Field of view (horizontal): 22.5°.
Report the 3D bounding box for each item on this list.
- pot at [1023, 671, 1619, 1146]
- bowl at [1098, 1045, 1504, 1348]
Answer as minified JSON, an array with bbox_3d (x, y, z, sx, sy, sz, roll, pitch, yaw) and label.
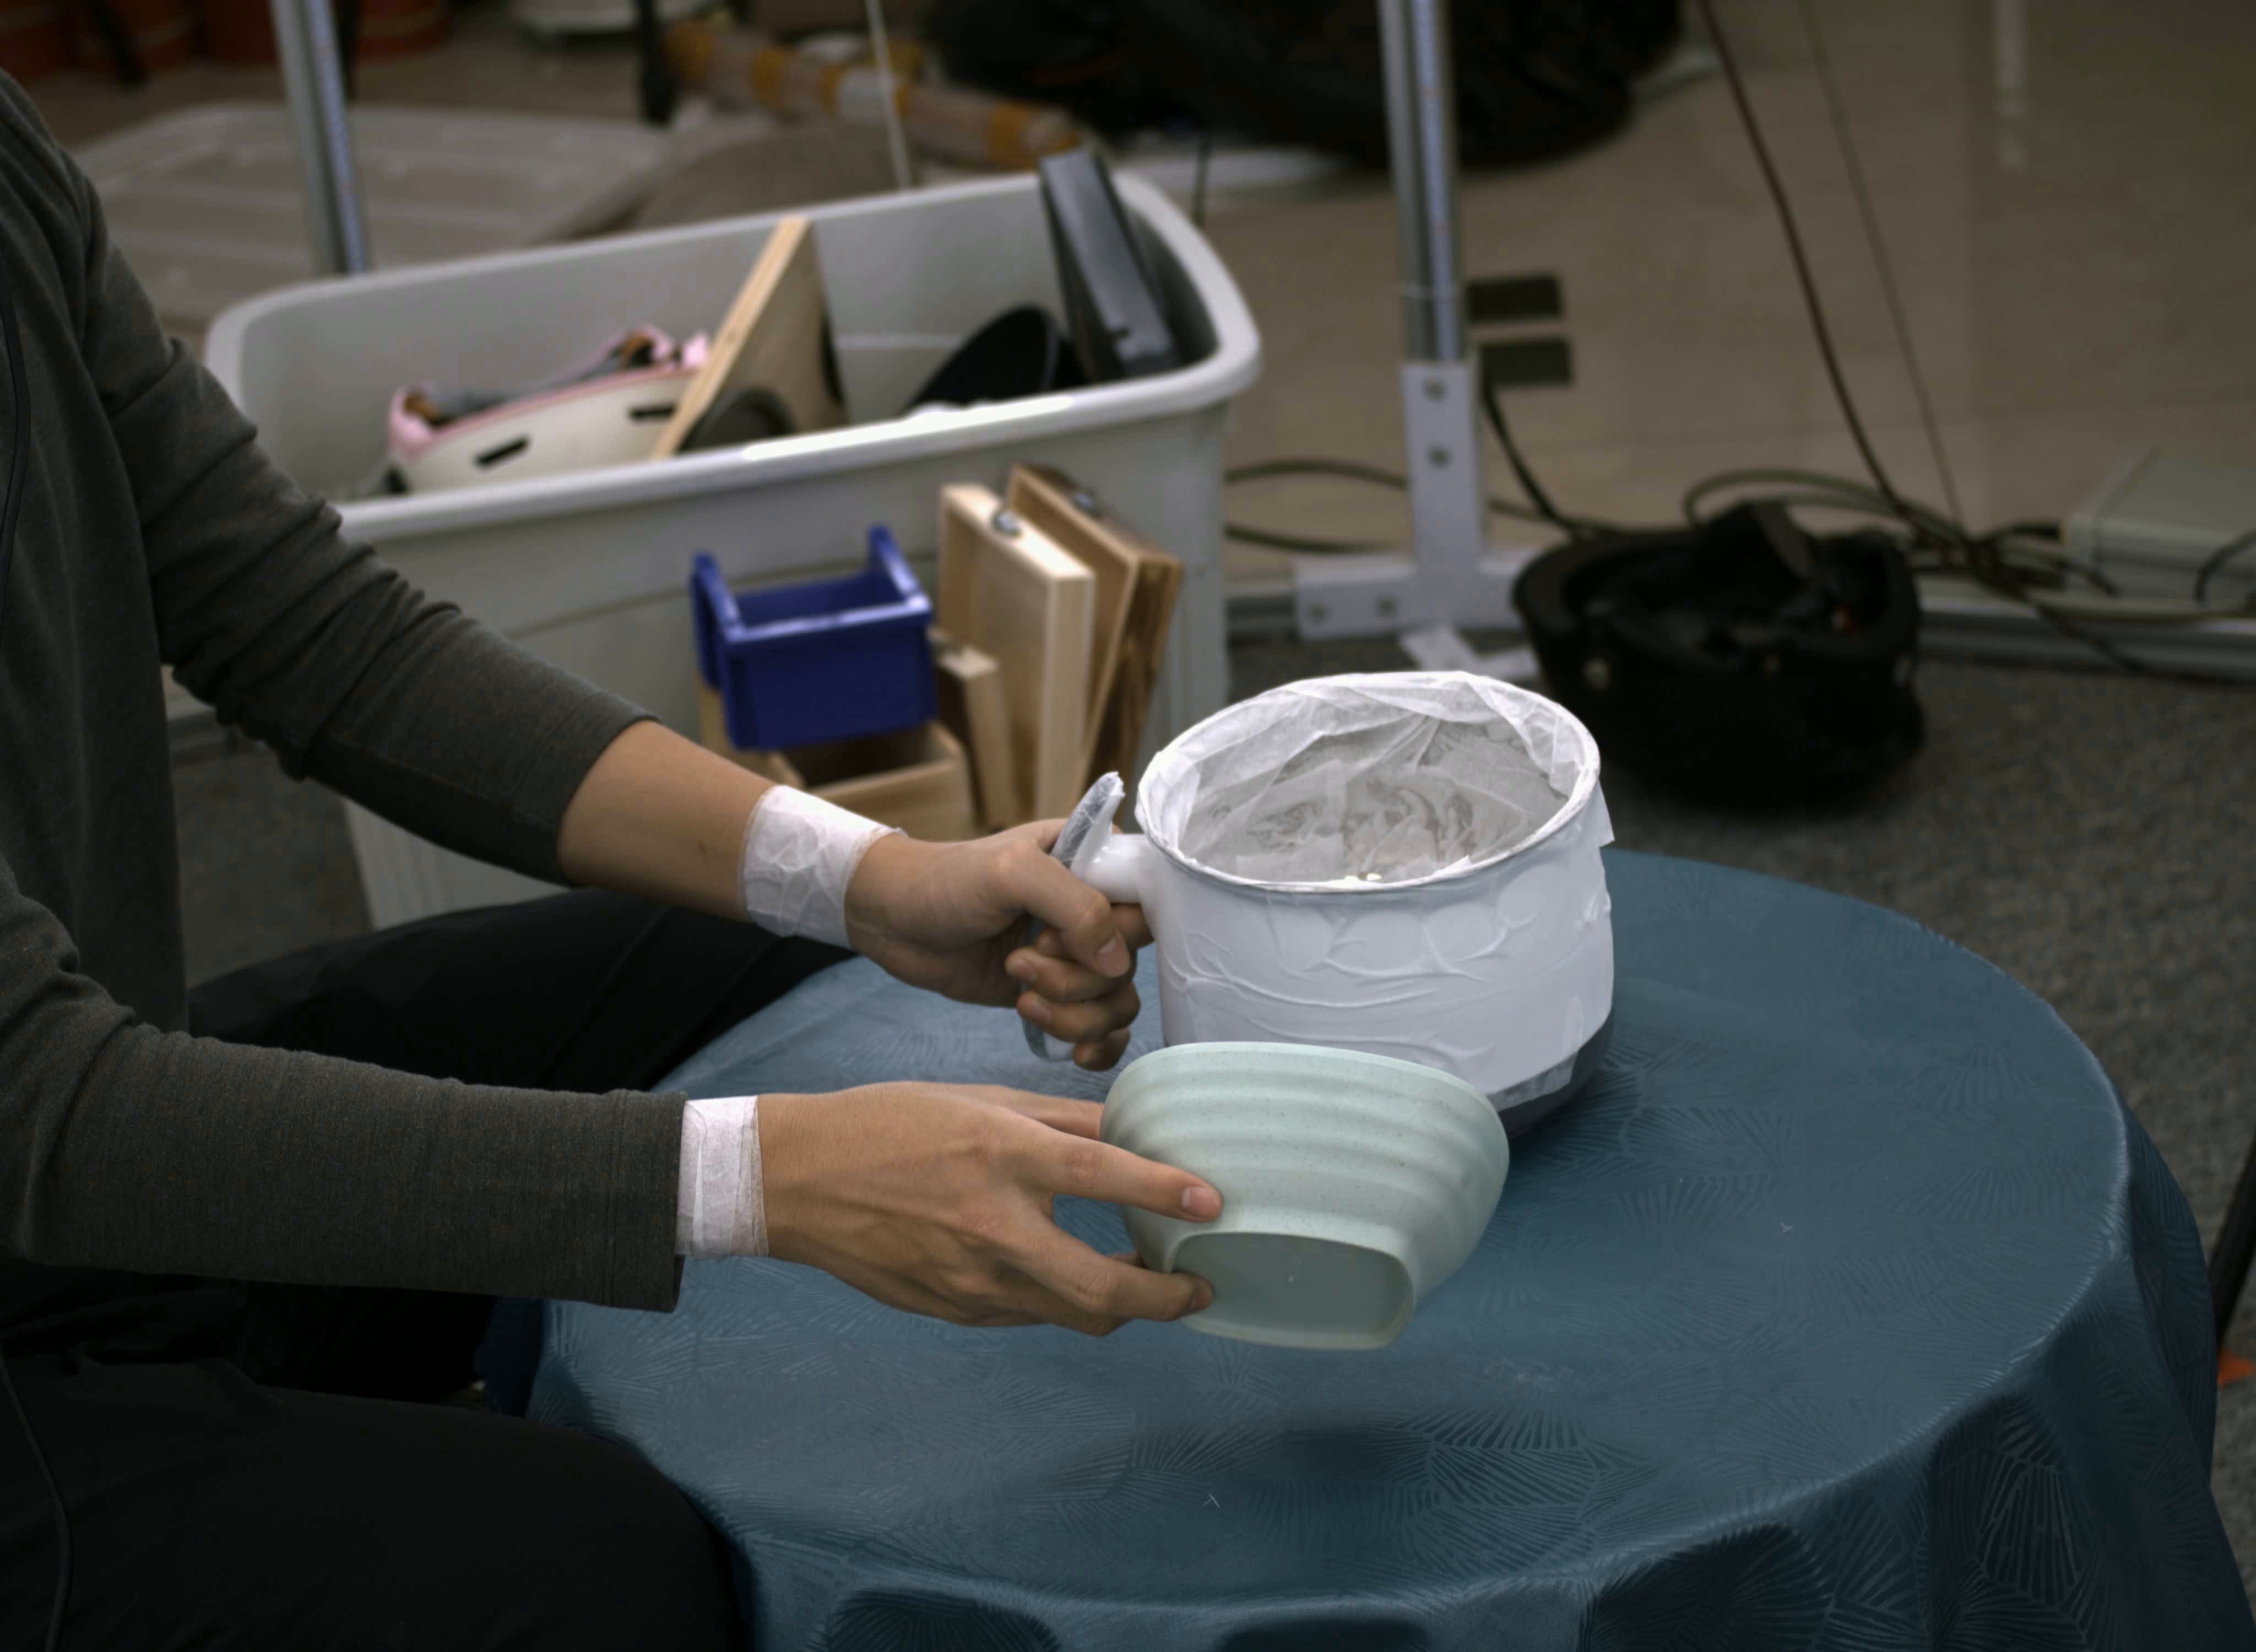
[{"bbox_3d":[0.071,0.038,2.180,0.233,0.139,0.176,-2,29,10],"label":"pot"},{"bbox_3d":[0.055,0.132,1.916,0.151,0.154,0.058,0,61,14],"label":"bowl"}]
